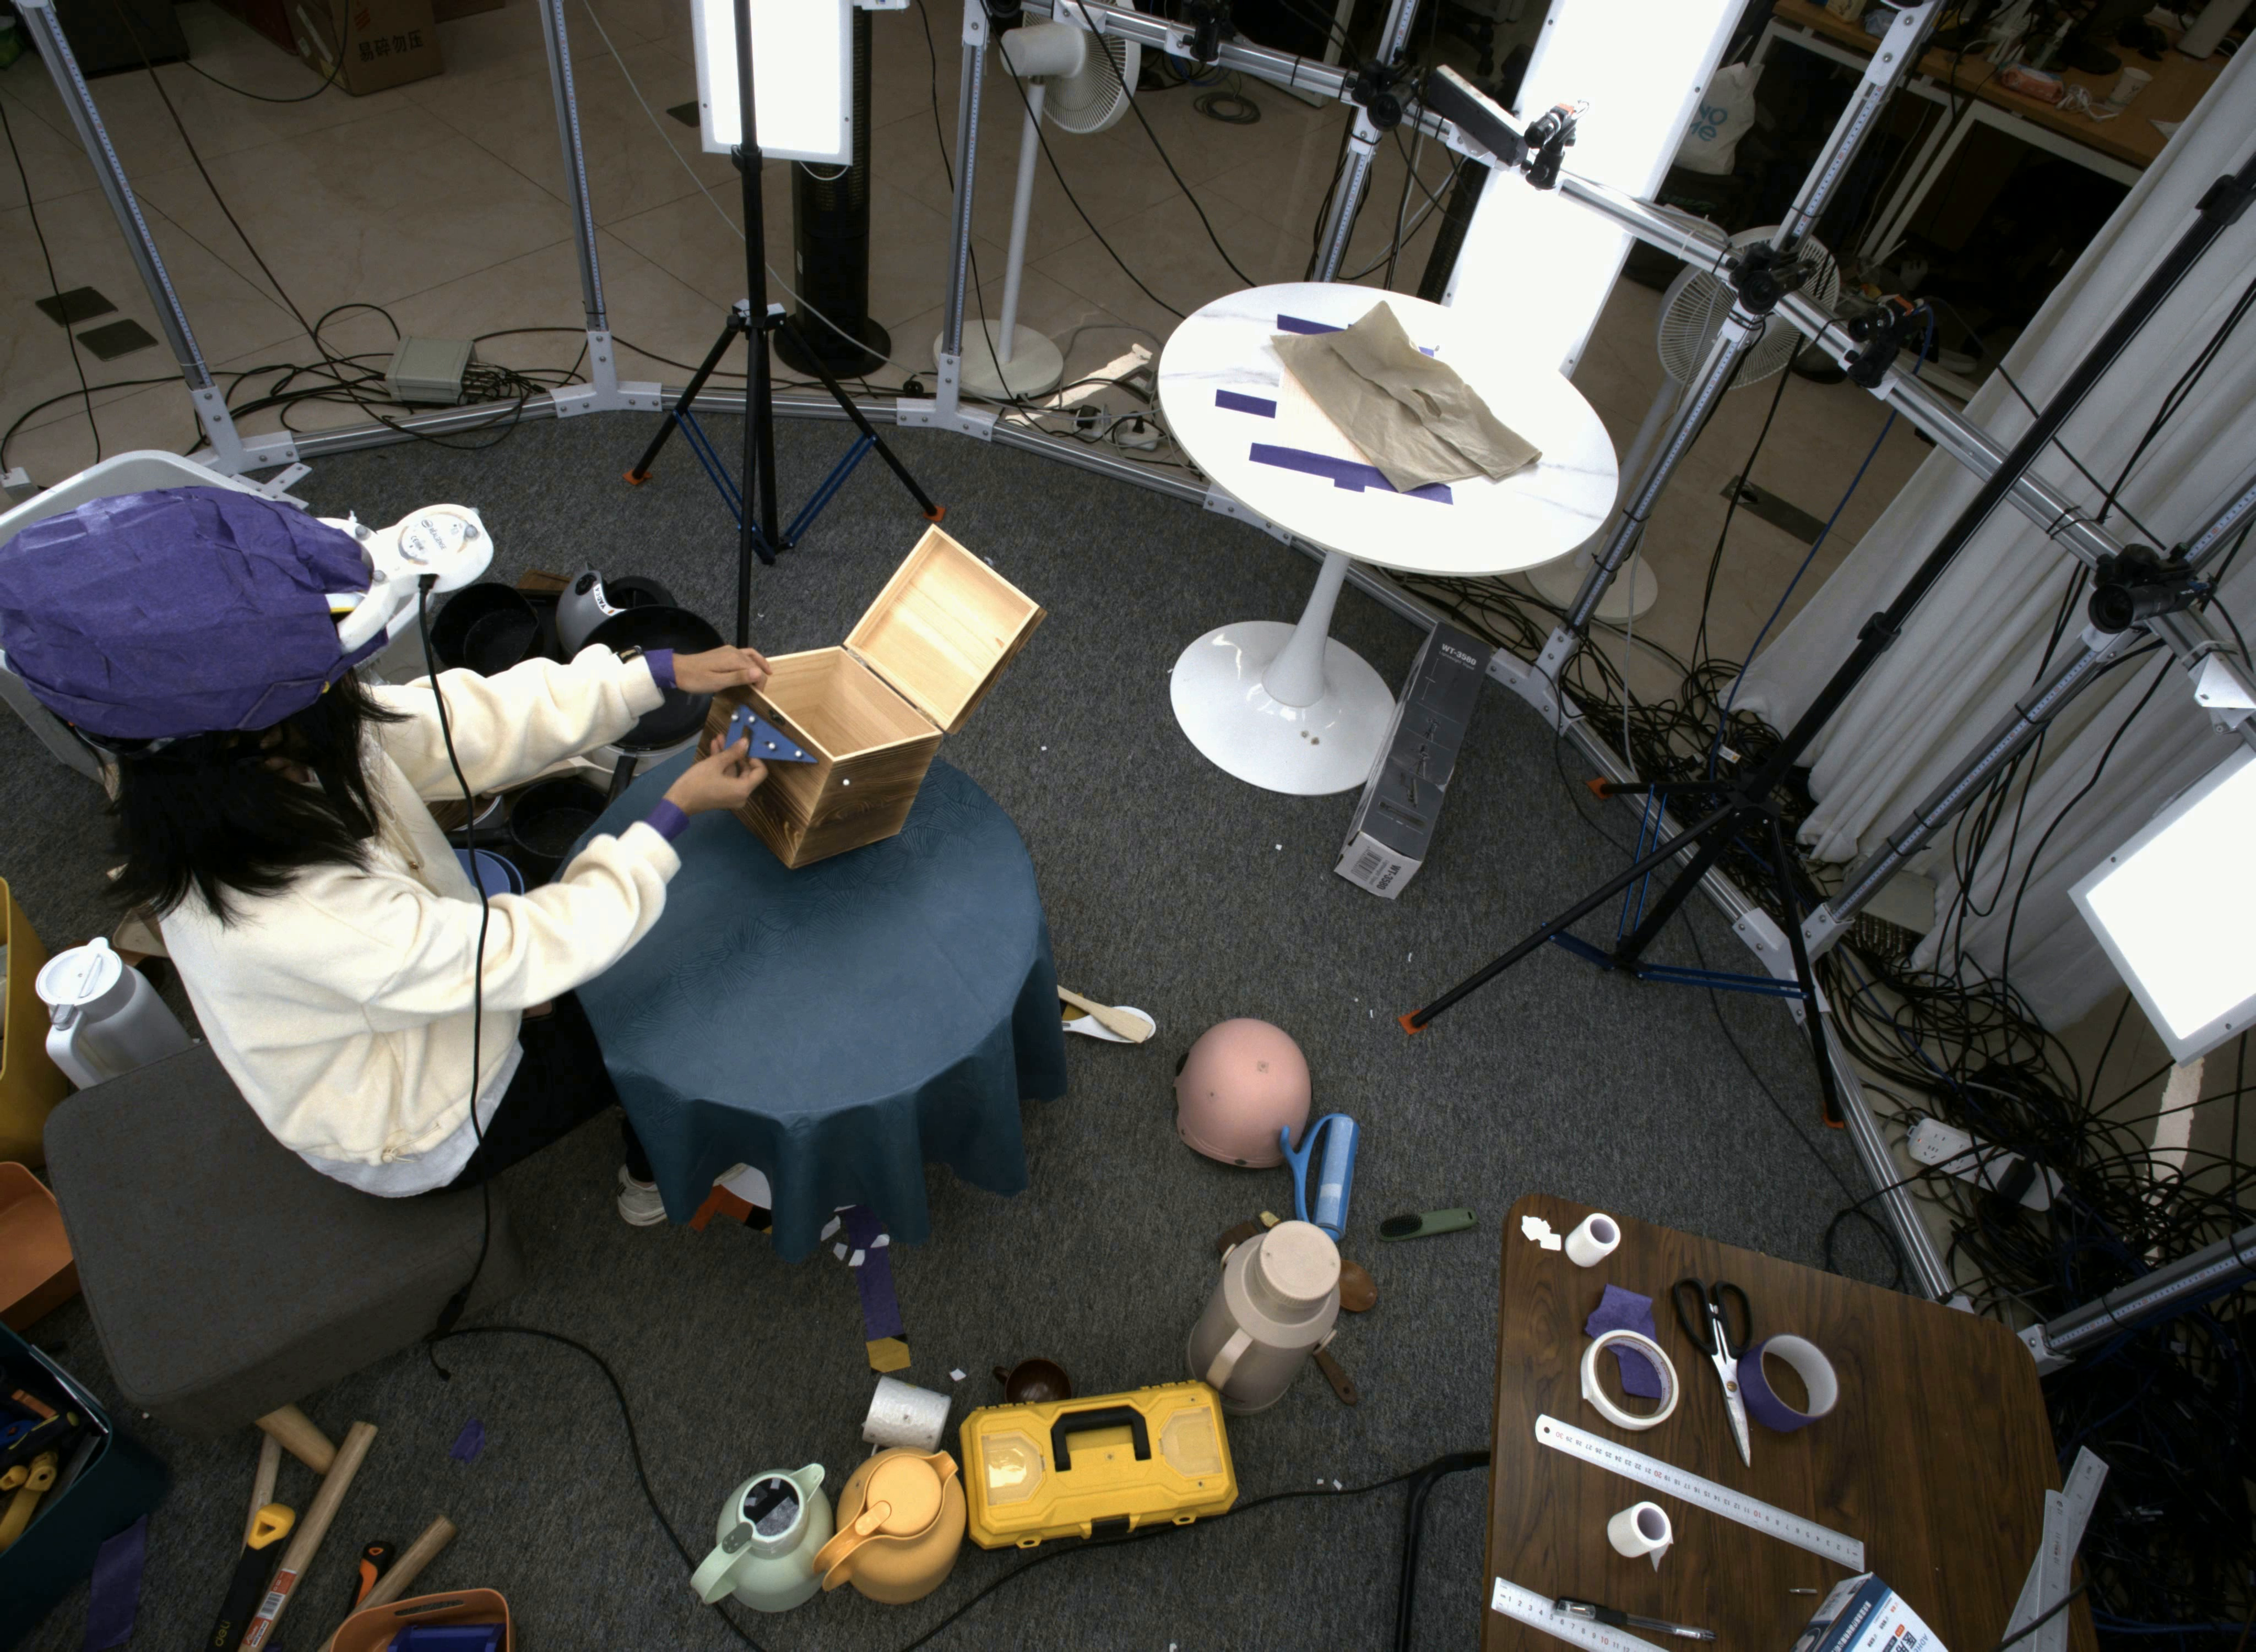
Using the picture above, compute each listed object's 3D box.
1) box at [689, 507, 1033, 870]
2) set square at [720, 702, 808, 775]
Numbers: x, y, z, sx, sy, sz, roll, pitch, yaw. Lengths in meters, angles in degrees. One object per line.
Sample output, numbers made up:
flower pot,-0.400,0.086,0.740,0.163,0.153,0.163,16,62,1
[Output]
box,-0.337,-0.184,1.643,0.204,0.381,0.325,37,29,18
set square,-0.435,-0.088,1.513,0.129,0.007,0.061,40,79,15
